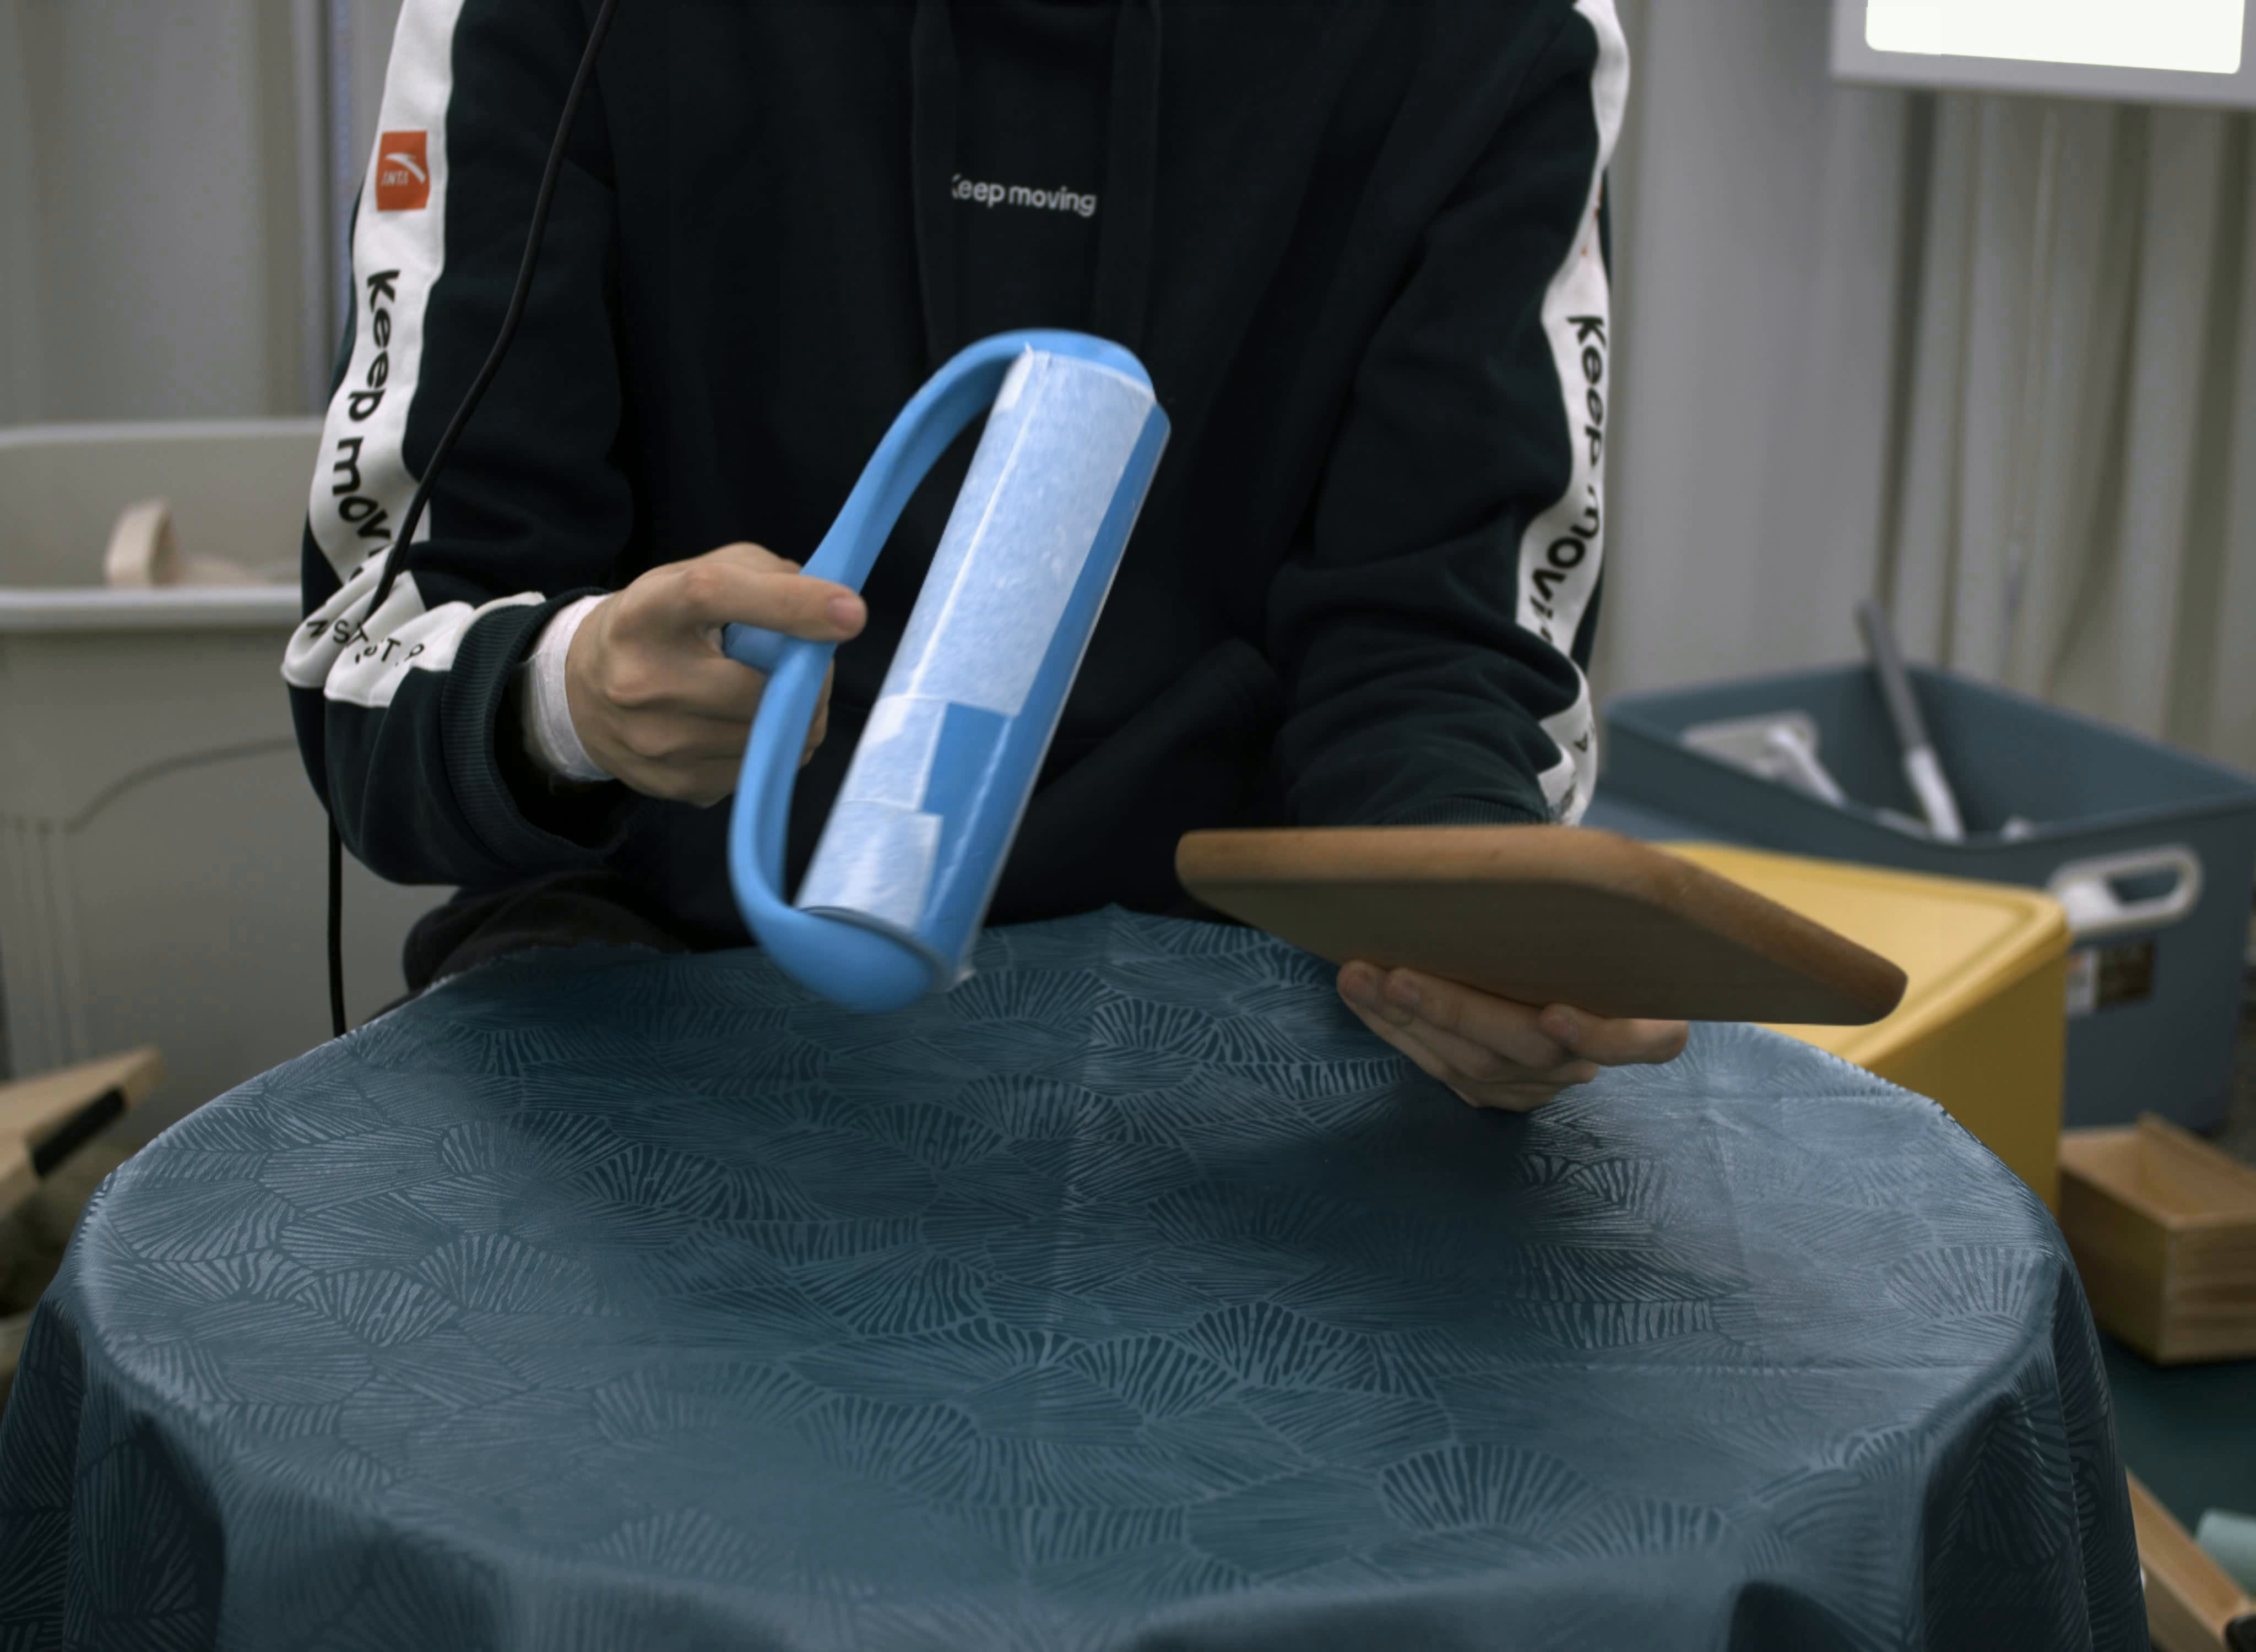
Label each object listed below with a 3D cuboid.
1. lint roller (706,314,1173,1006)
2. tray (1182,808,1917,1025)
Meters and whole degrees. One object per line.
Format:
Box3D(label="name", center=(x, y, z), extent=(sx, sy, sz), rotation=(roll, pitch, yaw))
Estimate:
Box3D(label="lint roller", center=(-0.084, -0.048, 1.626), extent=(0.178, 0.228, 0.069), rotation=(-4, -28, 43))
Box3D(label="tray", center=(0.120, 0.028, 1.571), extent=(0.132, 0.023, 0.248), rotation=(30, -16, -27))
